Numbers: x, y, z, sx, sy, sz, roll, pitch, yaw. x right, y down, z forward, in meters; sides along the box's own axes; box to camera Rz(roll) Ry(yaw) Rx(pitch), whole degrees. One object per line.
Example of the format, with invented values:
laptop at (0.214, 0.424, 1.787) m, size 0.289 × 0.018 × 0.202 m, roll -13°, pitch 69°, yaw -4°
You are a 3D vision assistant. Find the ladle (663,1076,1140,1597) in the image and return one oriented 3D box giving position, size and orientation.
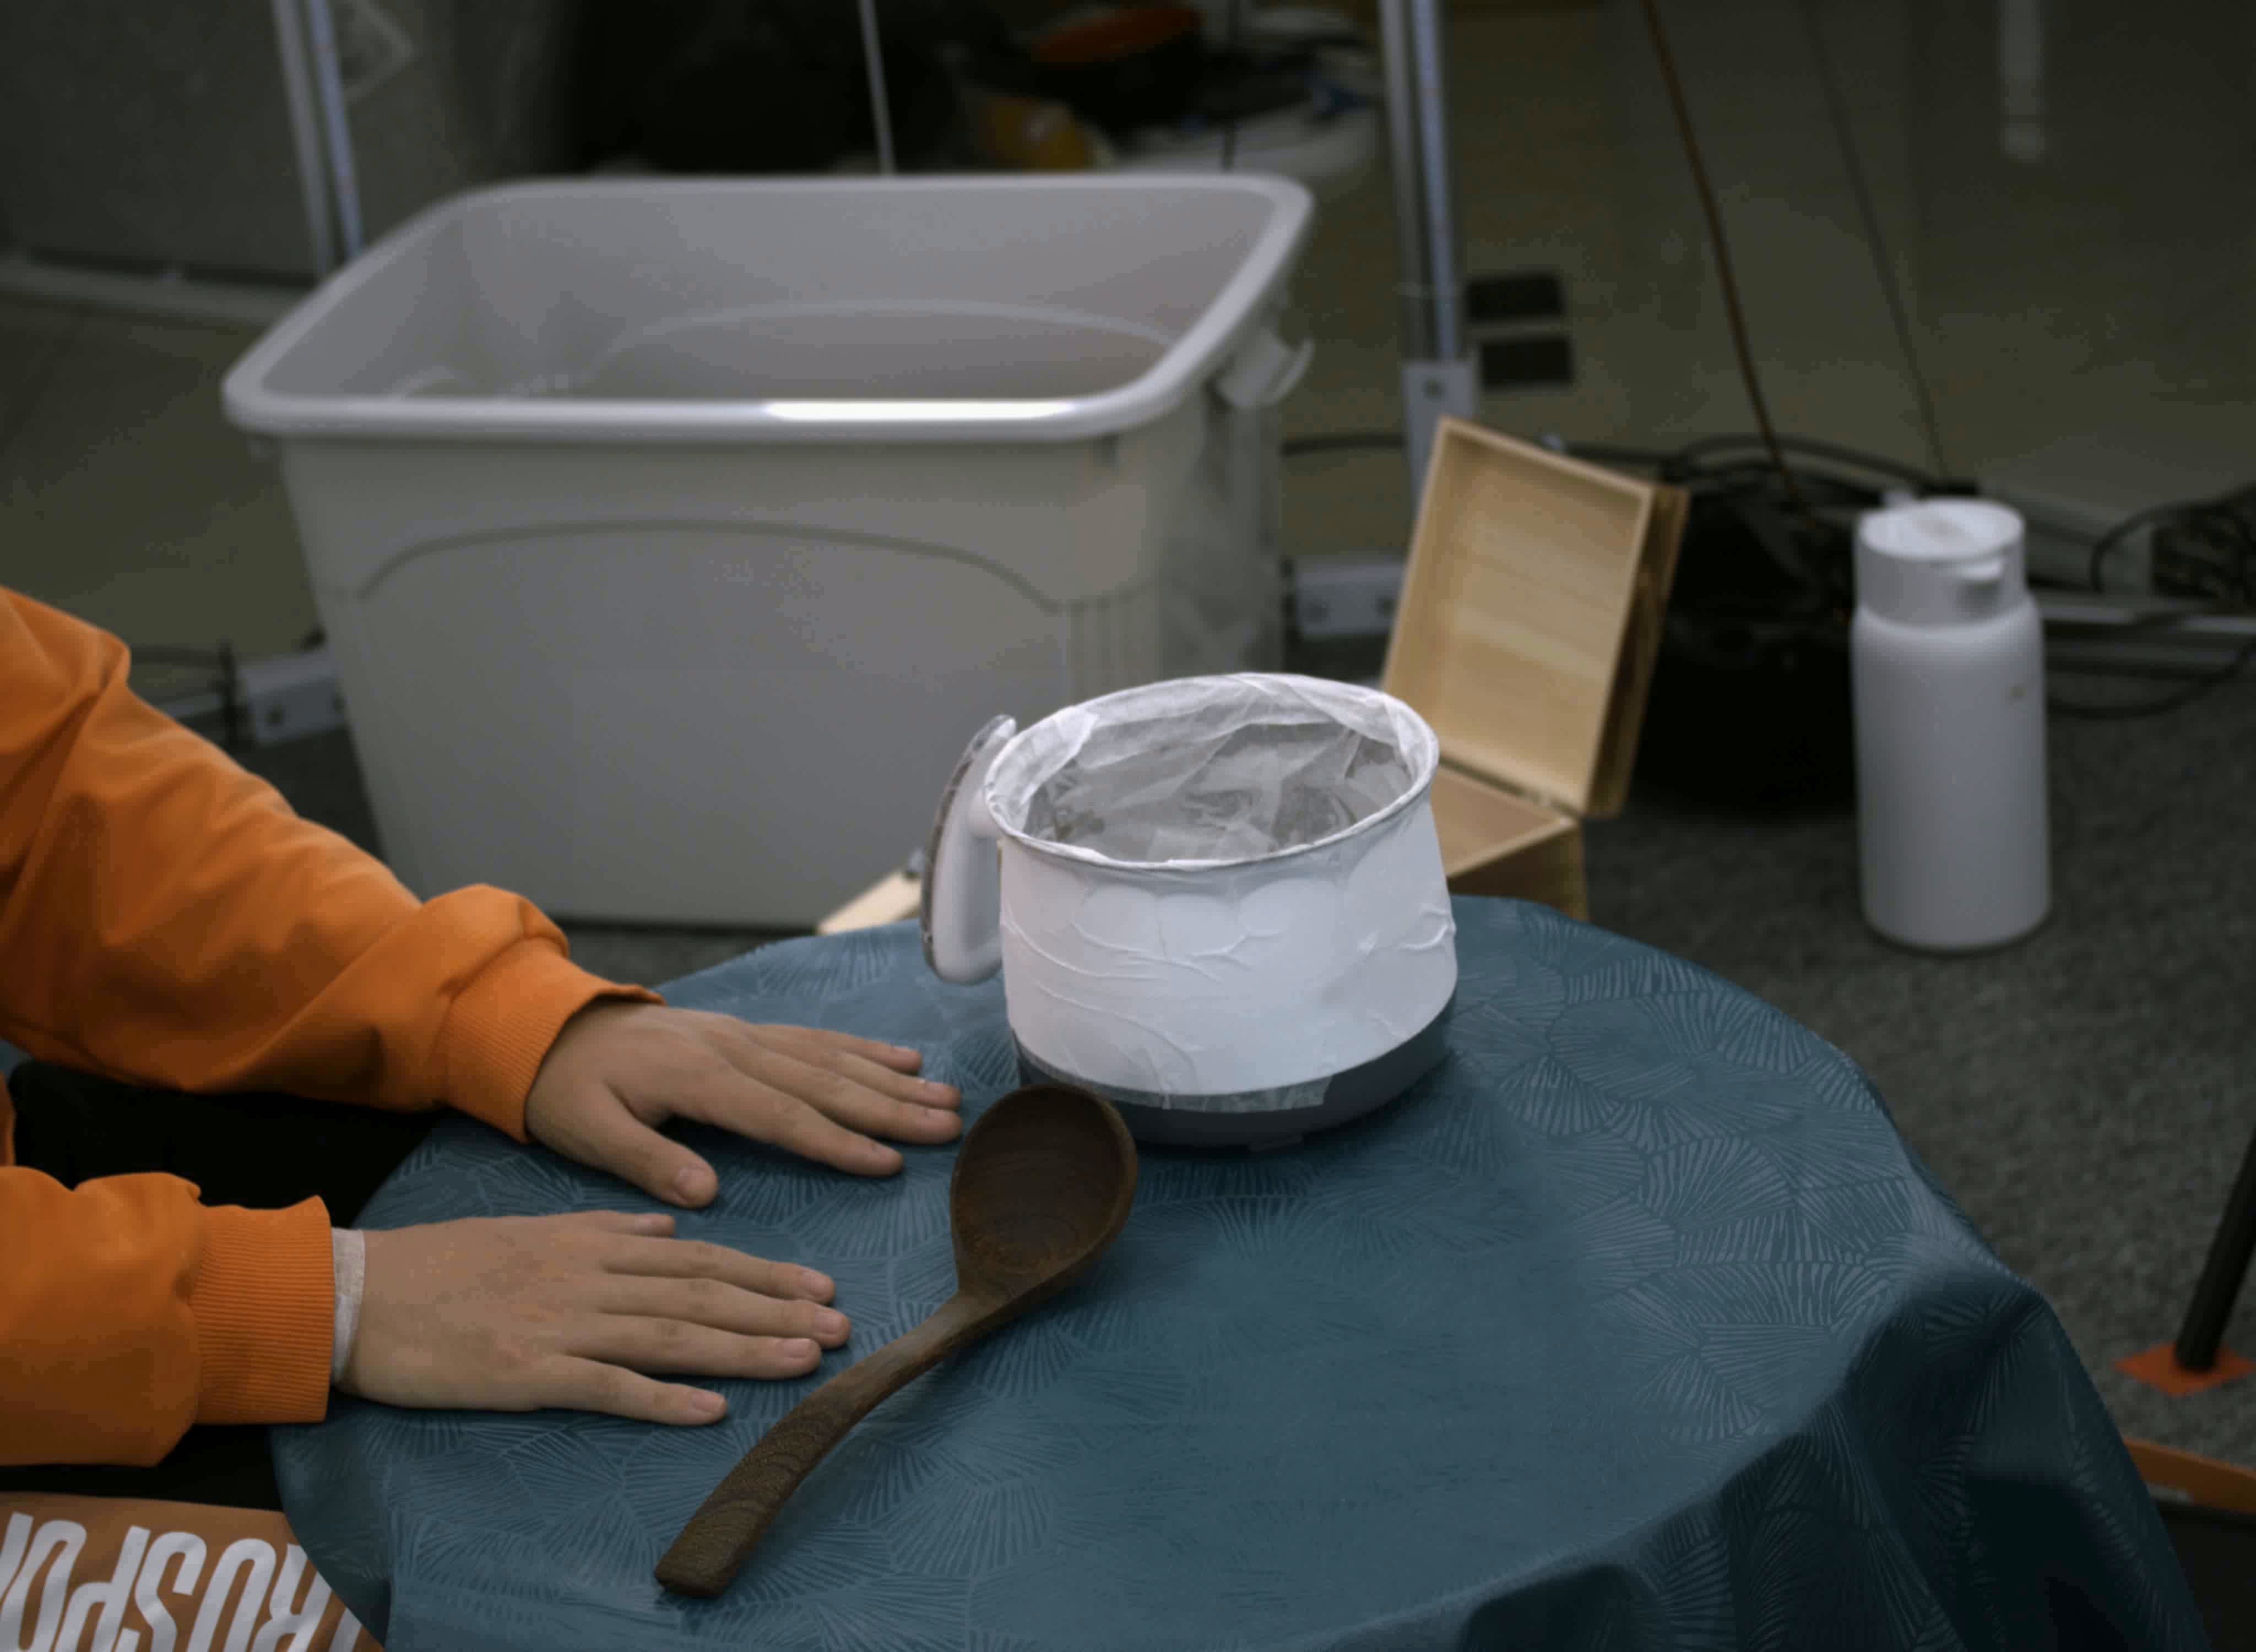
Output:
ladle at (-0.084, 0.175, 2.008) m, size 0.076 × 0.072 × 0.271 m, roll 6°, pitch 27°, yaw 32°

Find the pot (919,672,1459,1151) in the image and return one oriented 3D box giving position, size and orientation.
pot at (0.015, 0.030, 2.212) m, size 0.232 × 0.139 × 0.177 m, roll 11°, pitch 30°, yaw 32°
